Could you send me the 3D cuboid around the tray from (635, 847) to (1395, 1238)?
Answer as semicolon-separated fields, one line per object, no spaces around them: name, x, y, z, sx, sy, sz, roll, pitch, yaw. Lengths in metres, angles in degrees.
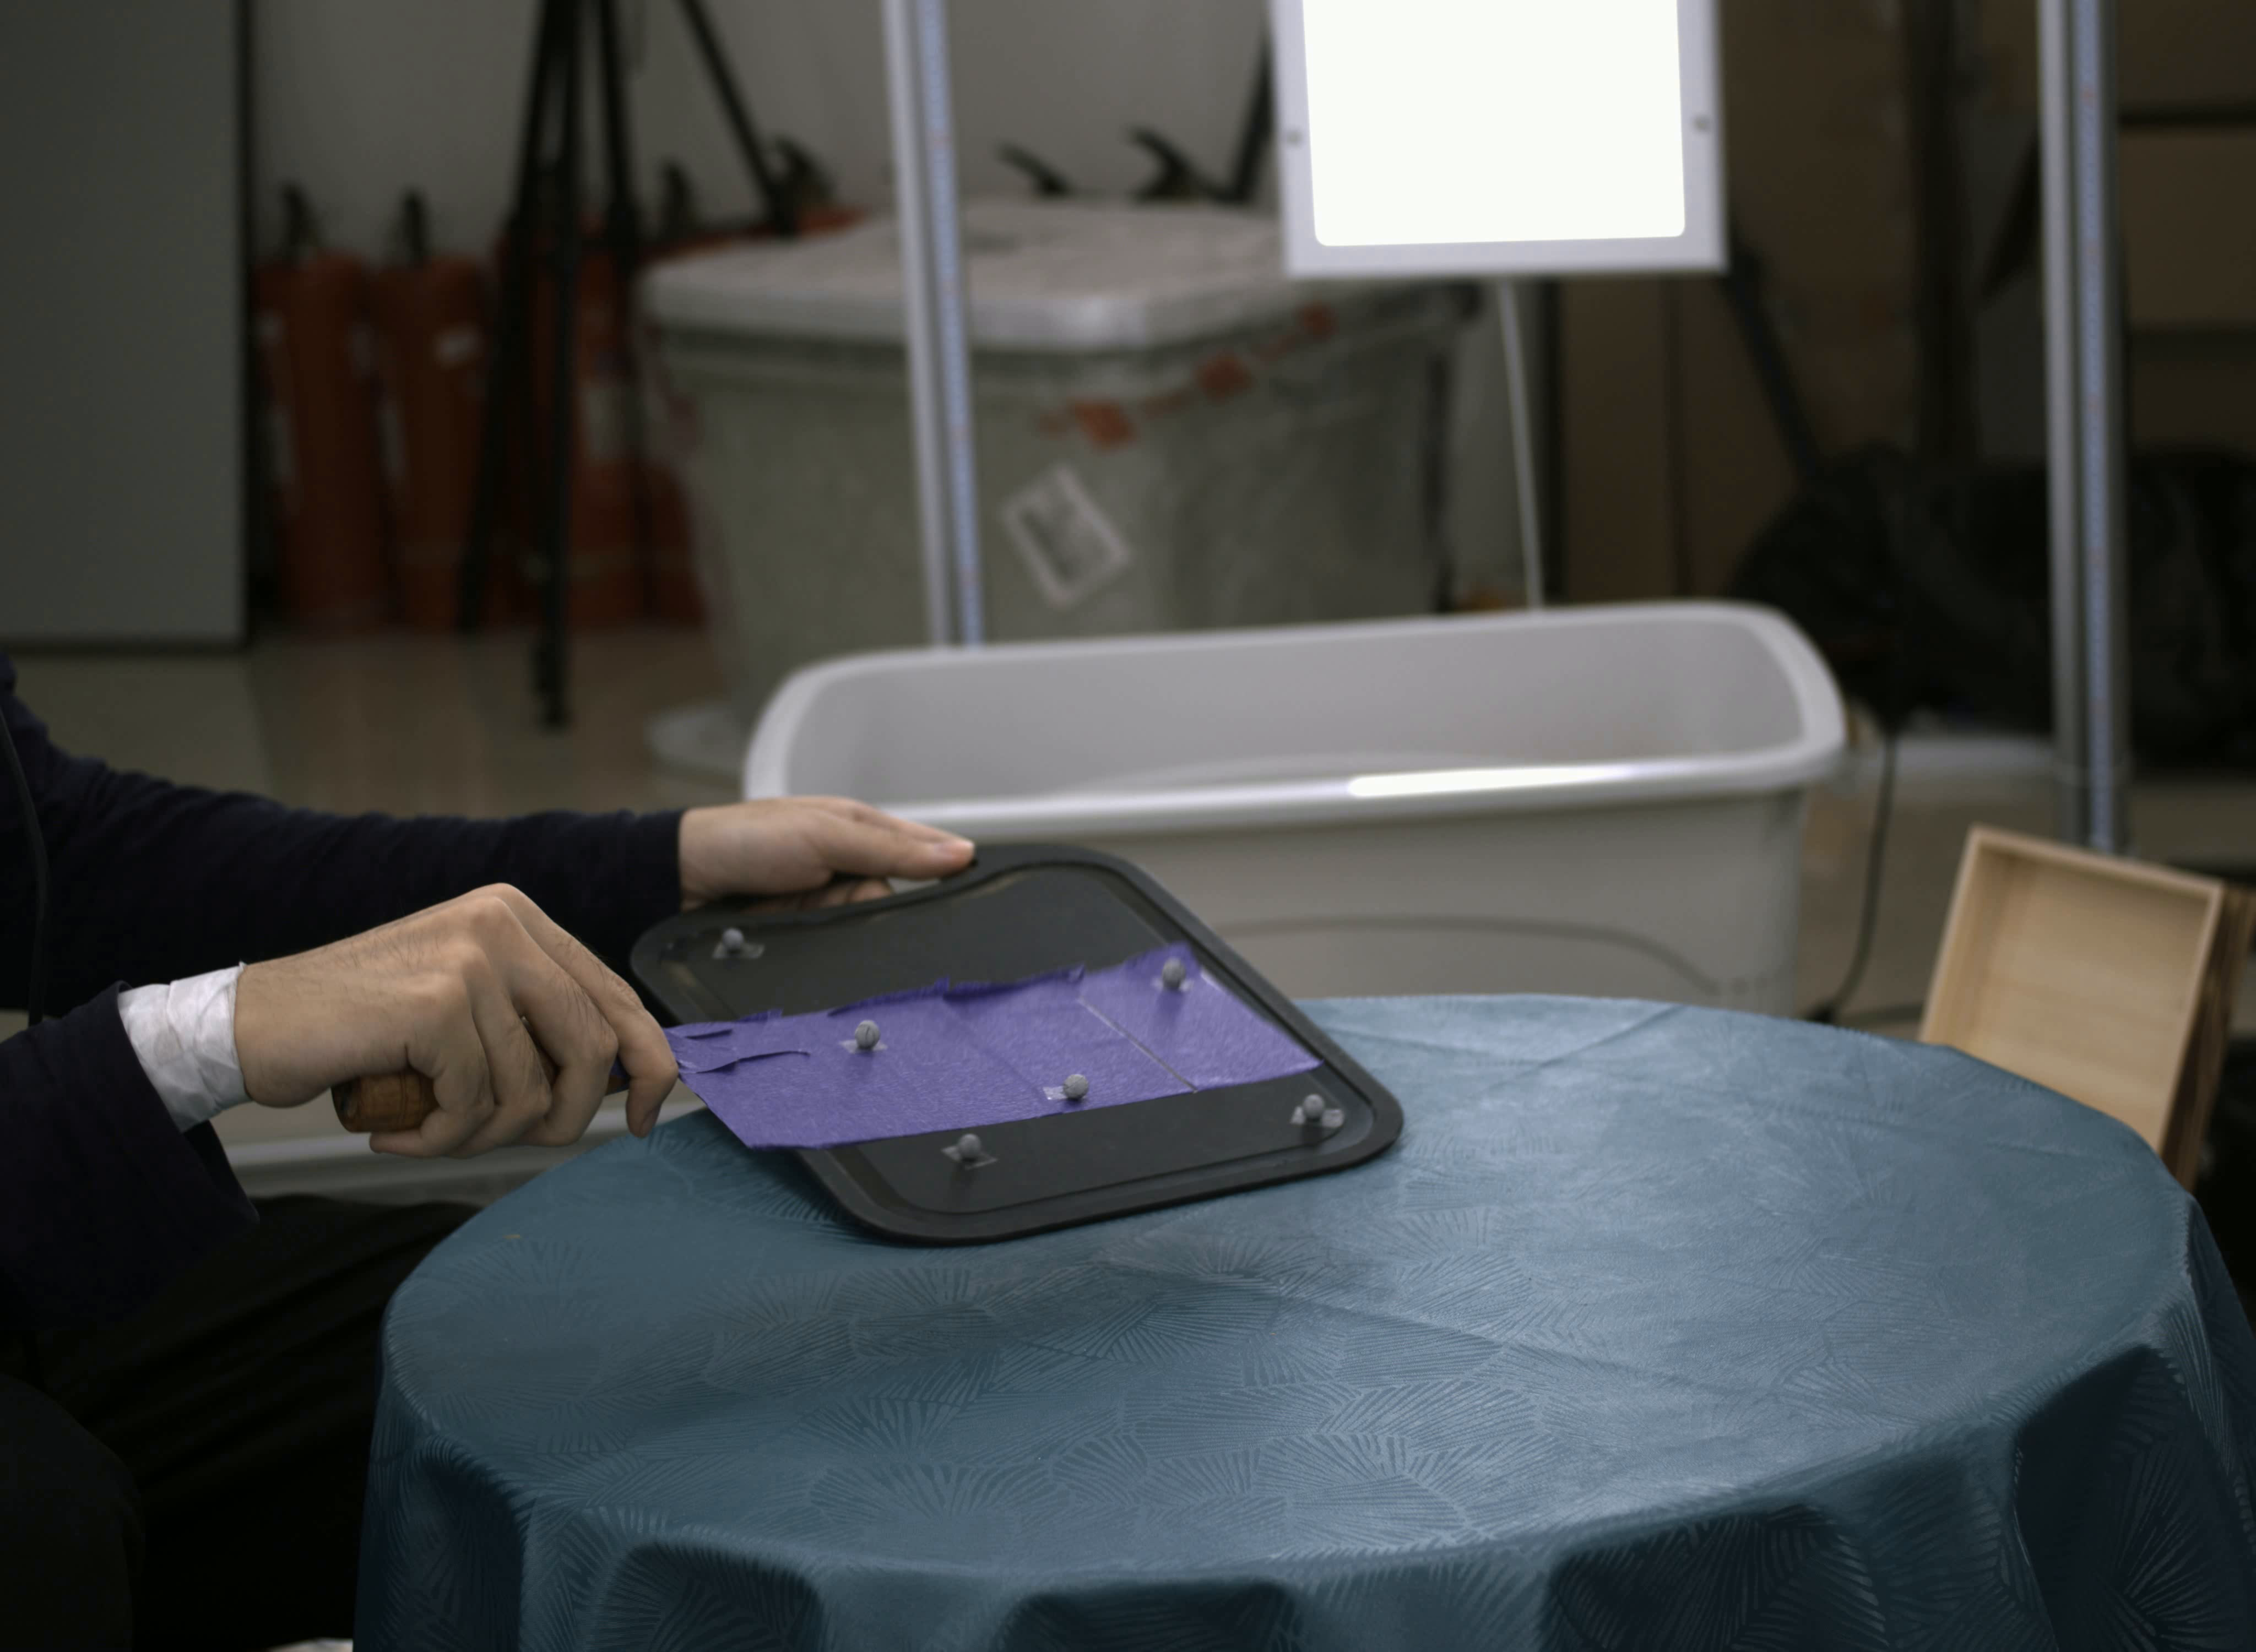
tray;-0.051;0.071;2.020;0.207;0.010;0.329;-11;24;-19

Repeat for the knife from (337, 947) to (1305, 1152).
knife;-0.092;0.075;1.767;0.308;0.032;0.105;-8;23;-27
